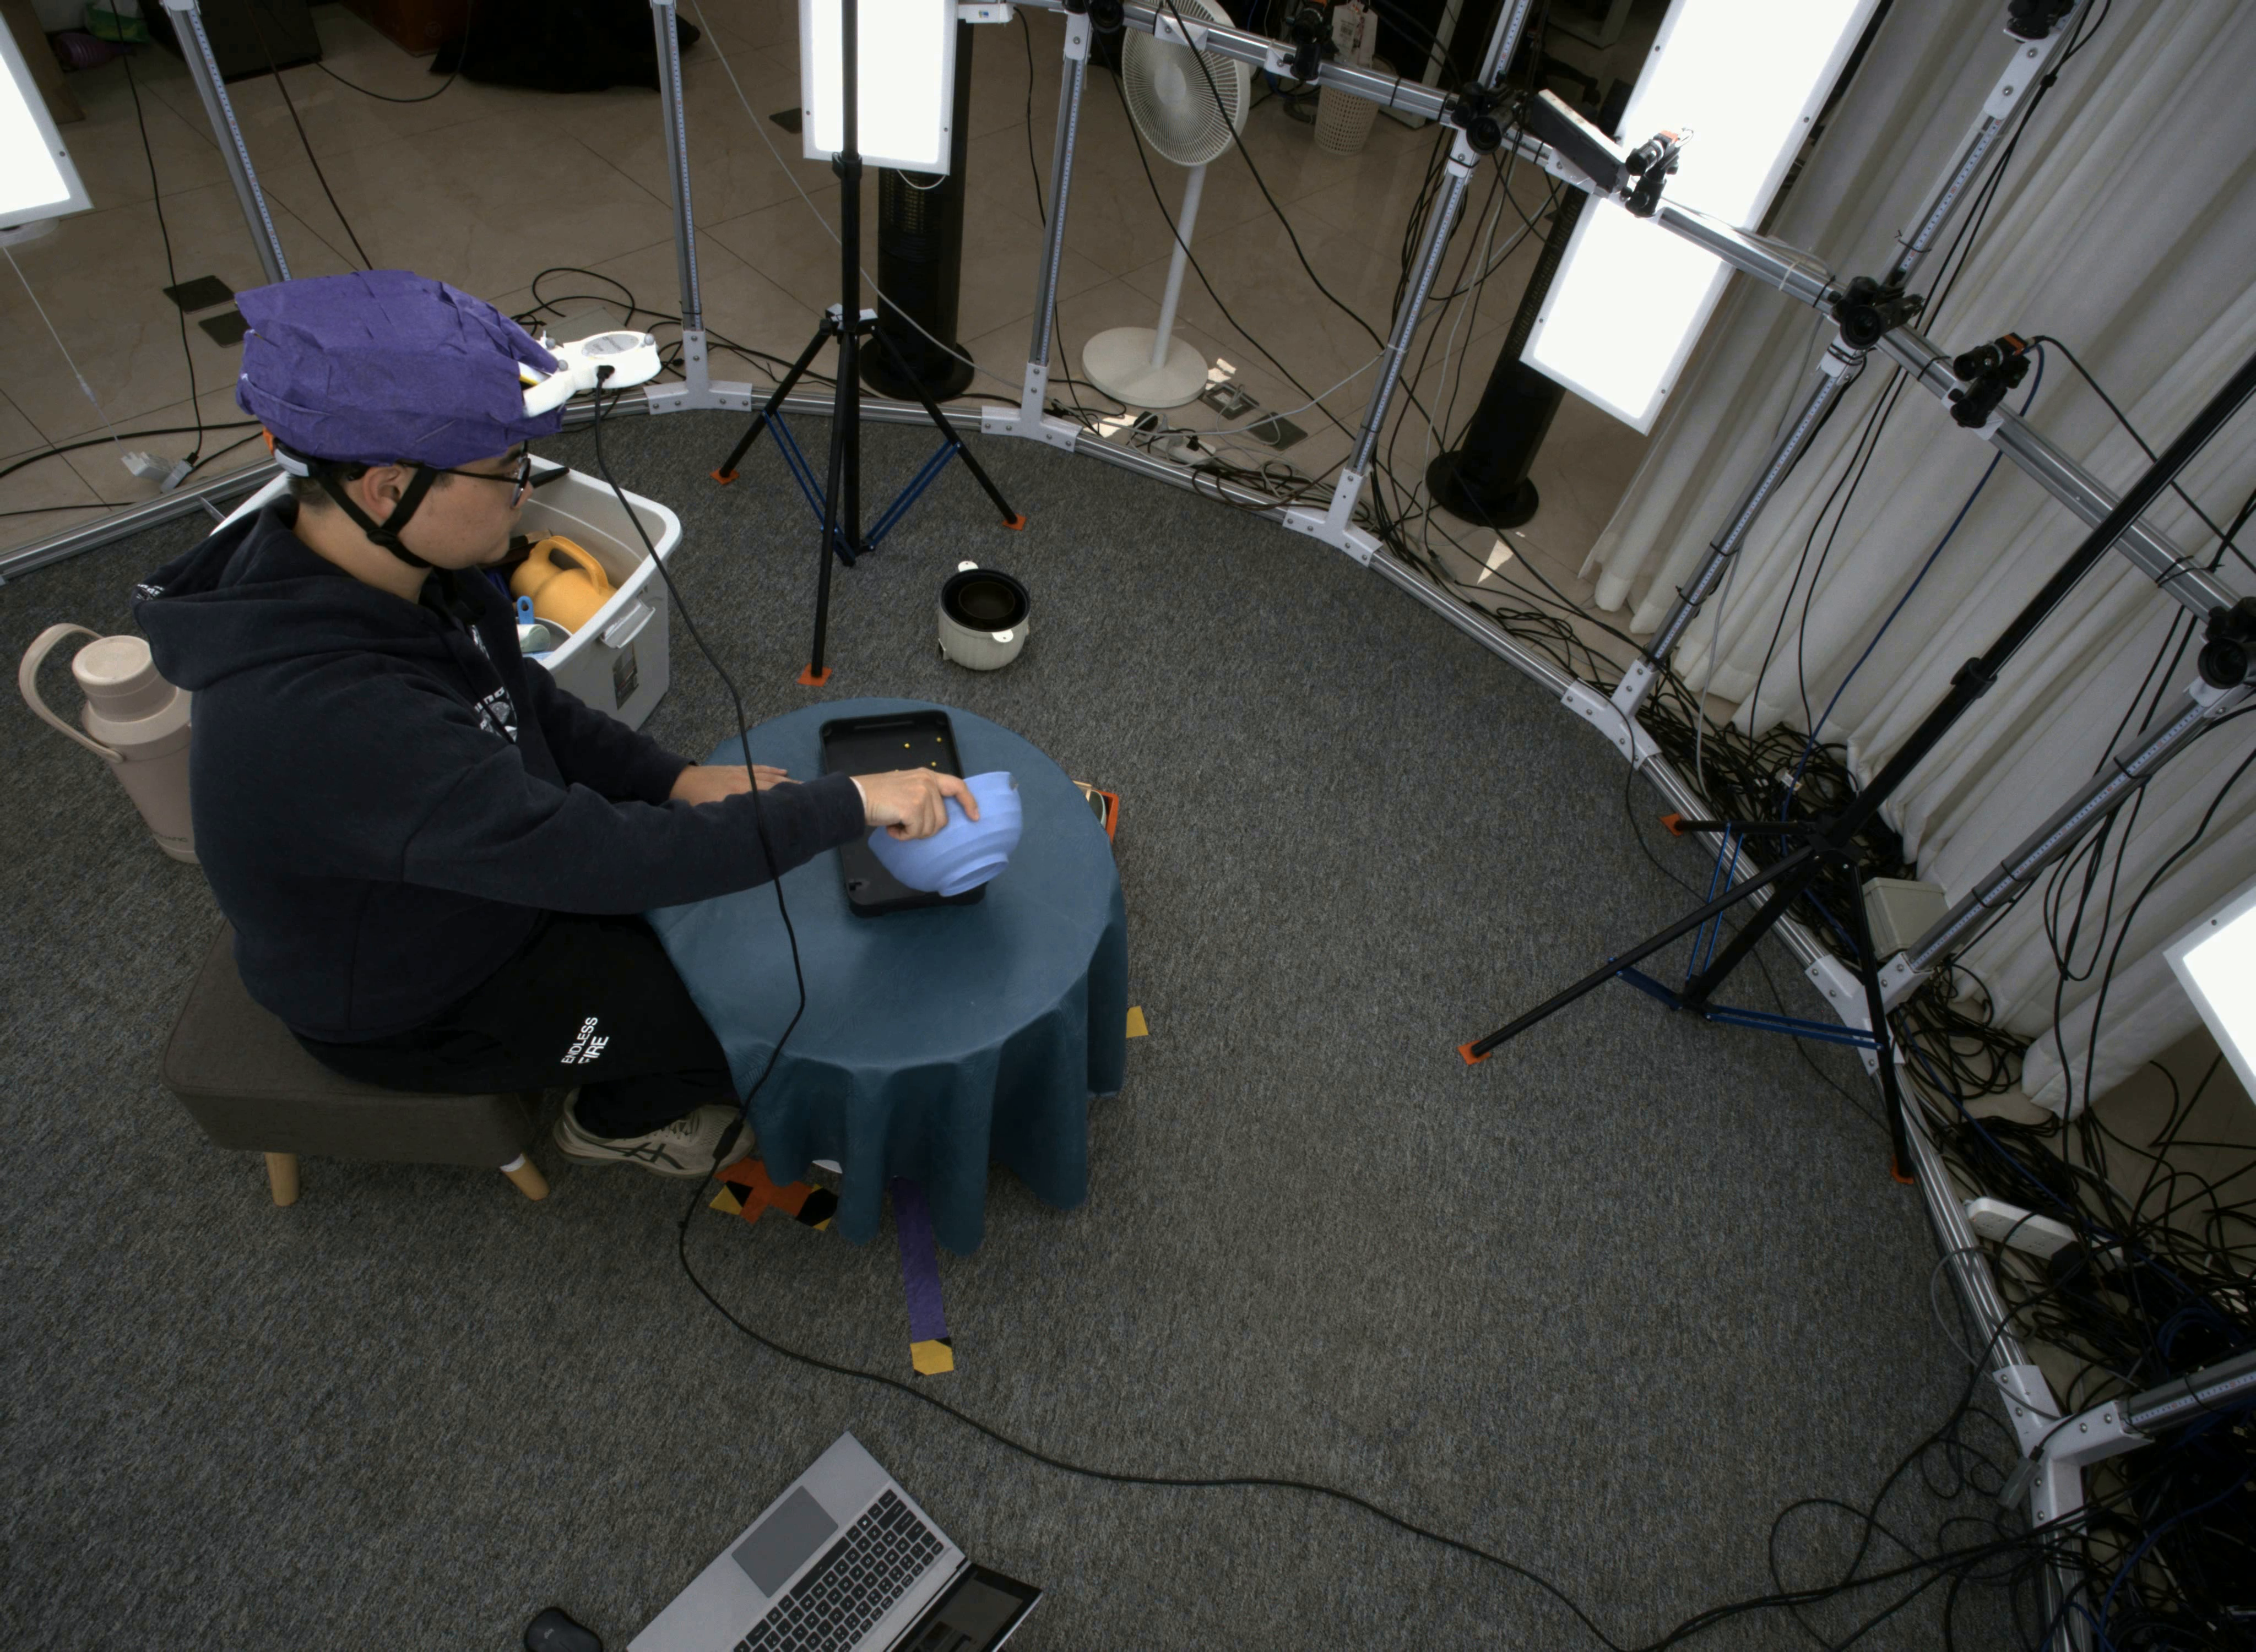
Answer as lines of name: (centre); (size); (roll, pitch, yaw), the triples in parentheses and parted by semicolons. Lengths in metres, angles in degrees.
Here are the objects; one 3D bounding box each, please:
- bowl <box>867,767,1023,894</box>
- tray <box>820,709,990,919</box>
bowl: (-0.206, 0.018, 1.574); (0.197, 0.196, 0.095); (-20, 77, -26)
tray: (-0.303, -0.023, 1.744); (0.185, 0.038, 0.310); (-6, 56, -18)
